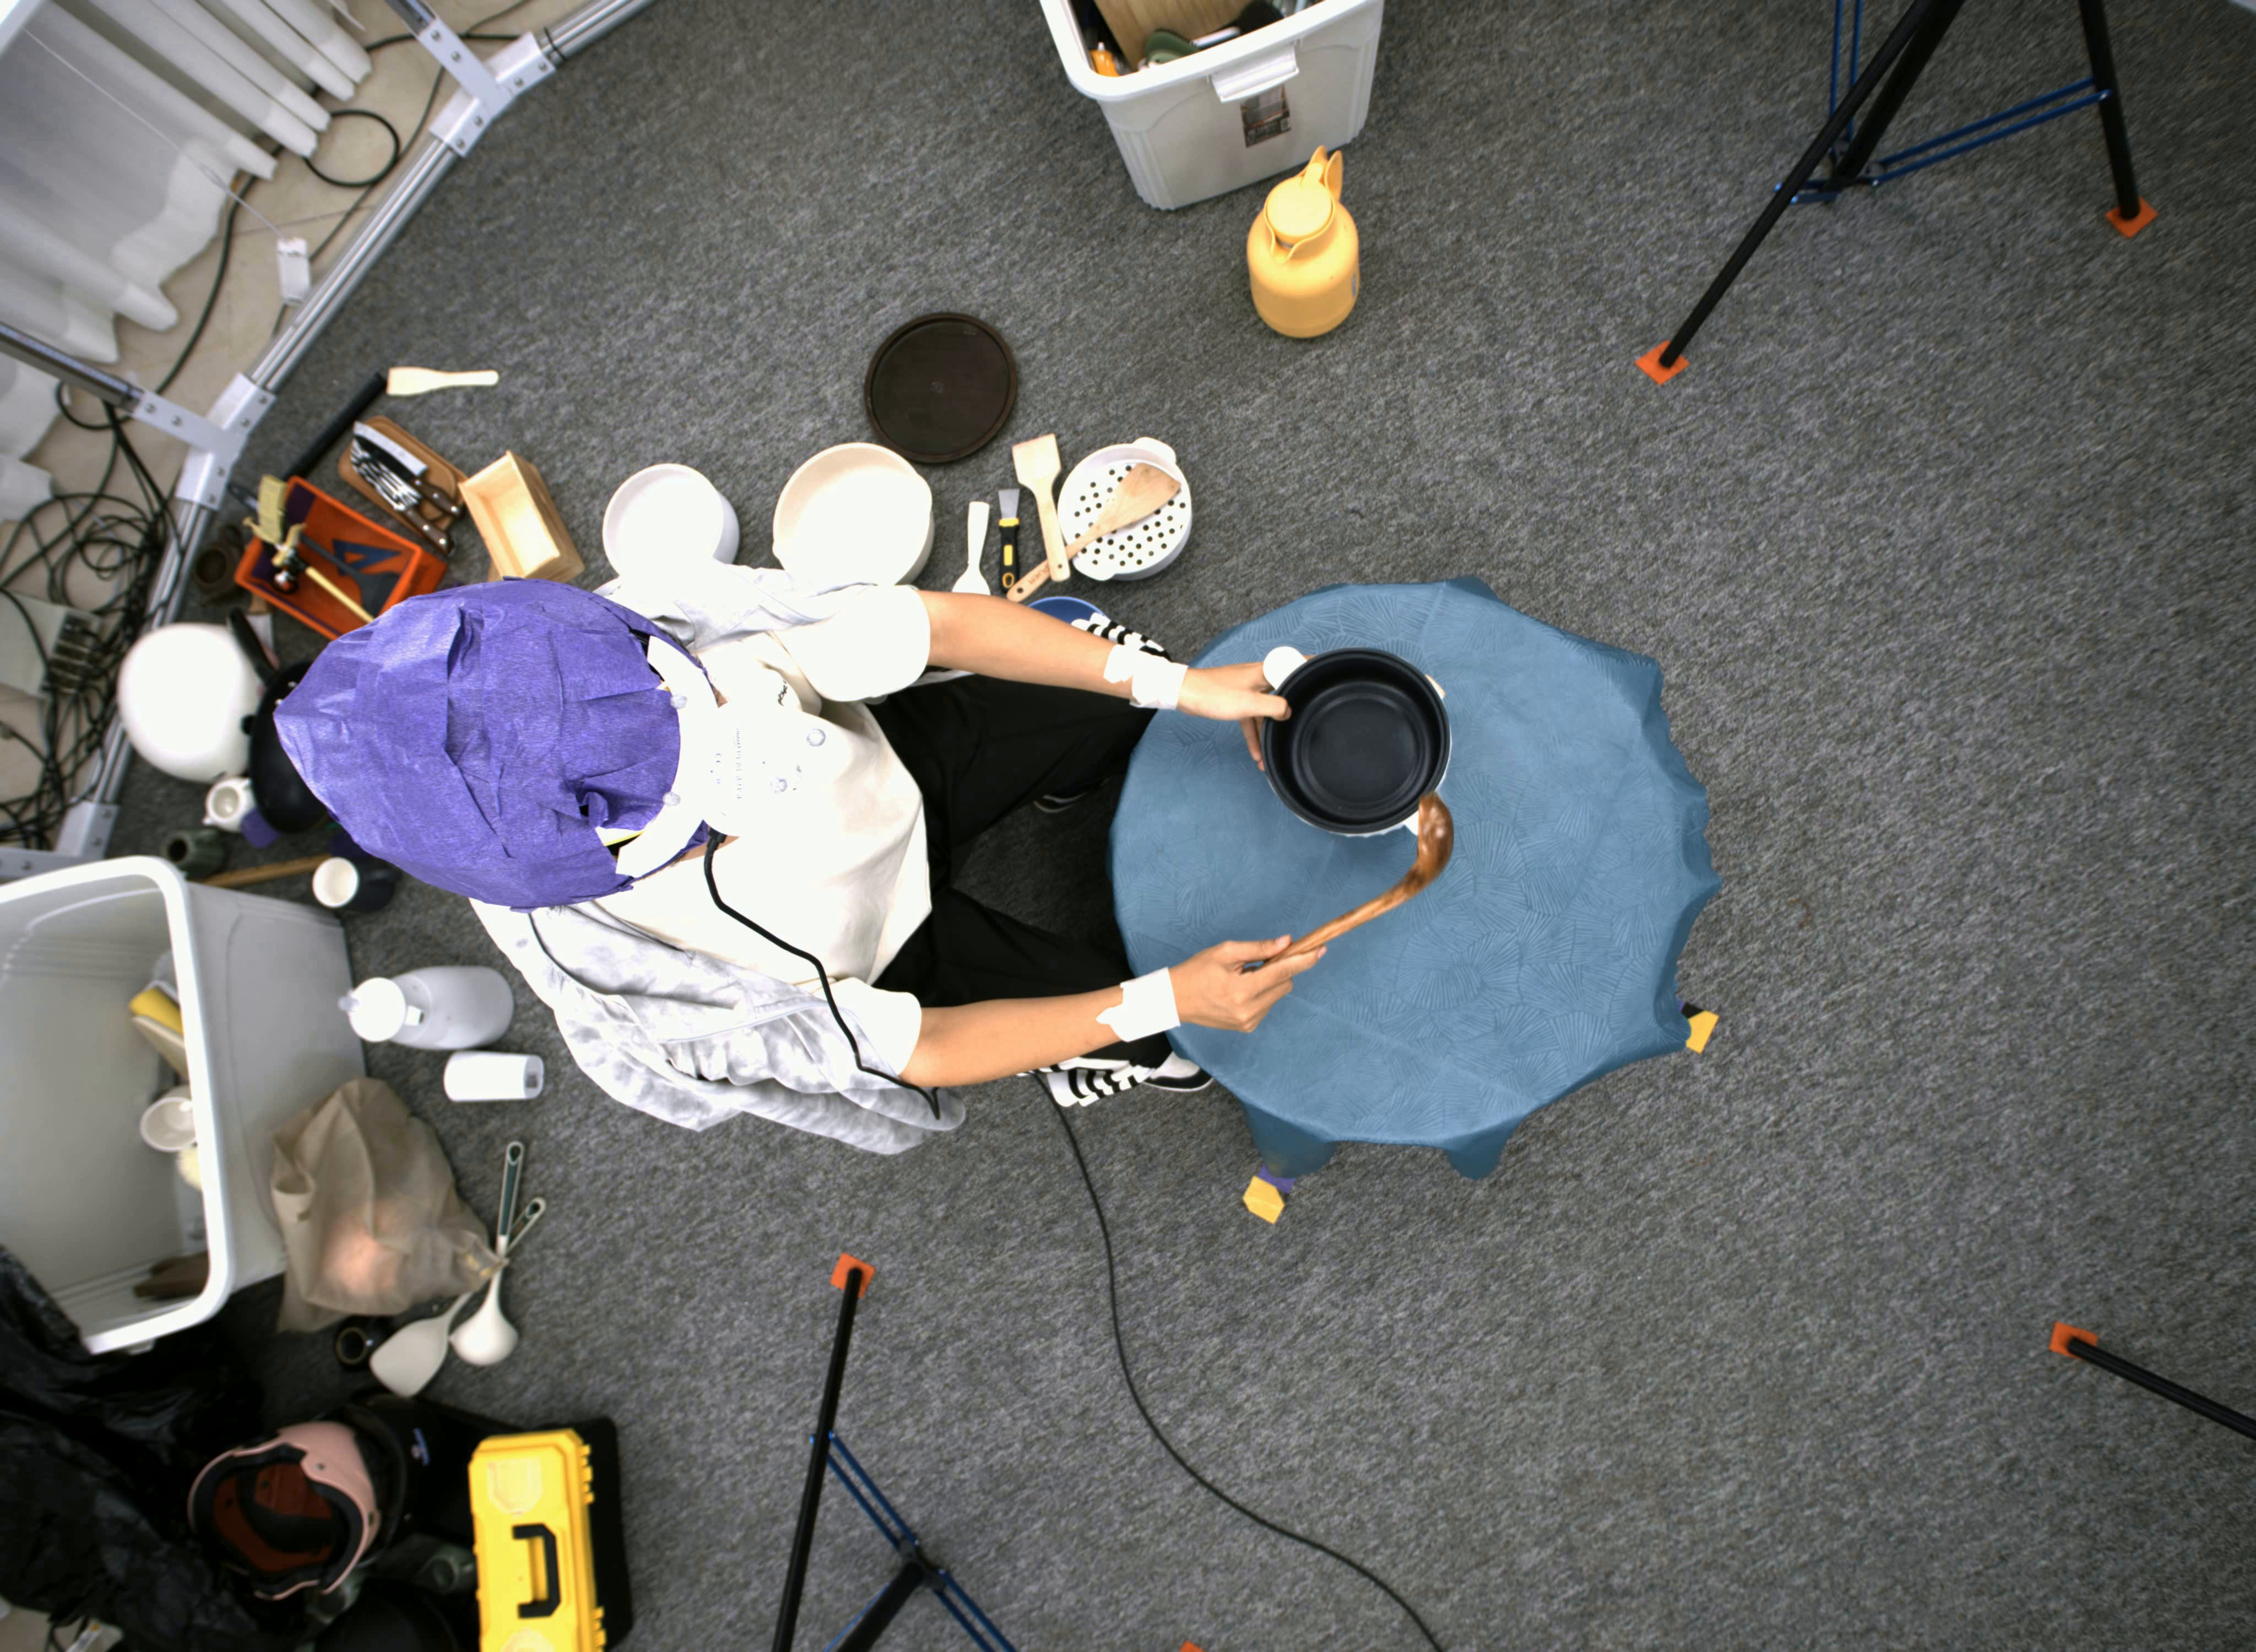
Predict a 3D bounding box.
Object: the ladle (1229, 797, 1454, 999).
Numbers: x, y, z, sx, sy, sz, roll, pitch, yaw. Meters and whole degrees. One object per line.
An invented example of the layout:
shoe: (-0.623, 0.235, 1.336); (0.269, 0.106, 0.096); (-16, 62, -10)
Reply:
ladle: (0.186, 0.067, 1.277); (0.278, 0.080, 0.076); (-33, 91, 25)

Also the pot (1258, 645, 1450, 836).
pot: (0.234, -0.085, 1.374); (0.192, 0.142, 0.239); (-45, 80, 13)
